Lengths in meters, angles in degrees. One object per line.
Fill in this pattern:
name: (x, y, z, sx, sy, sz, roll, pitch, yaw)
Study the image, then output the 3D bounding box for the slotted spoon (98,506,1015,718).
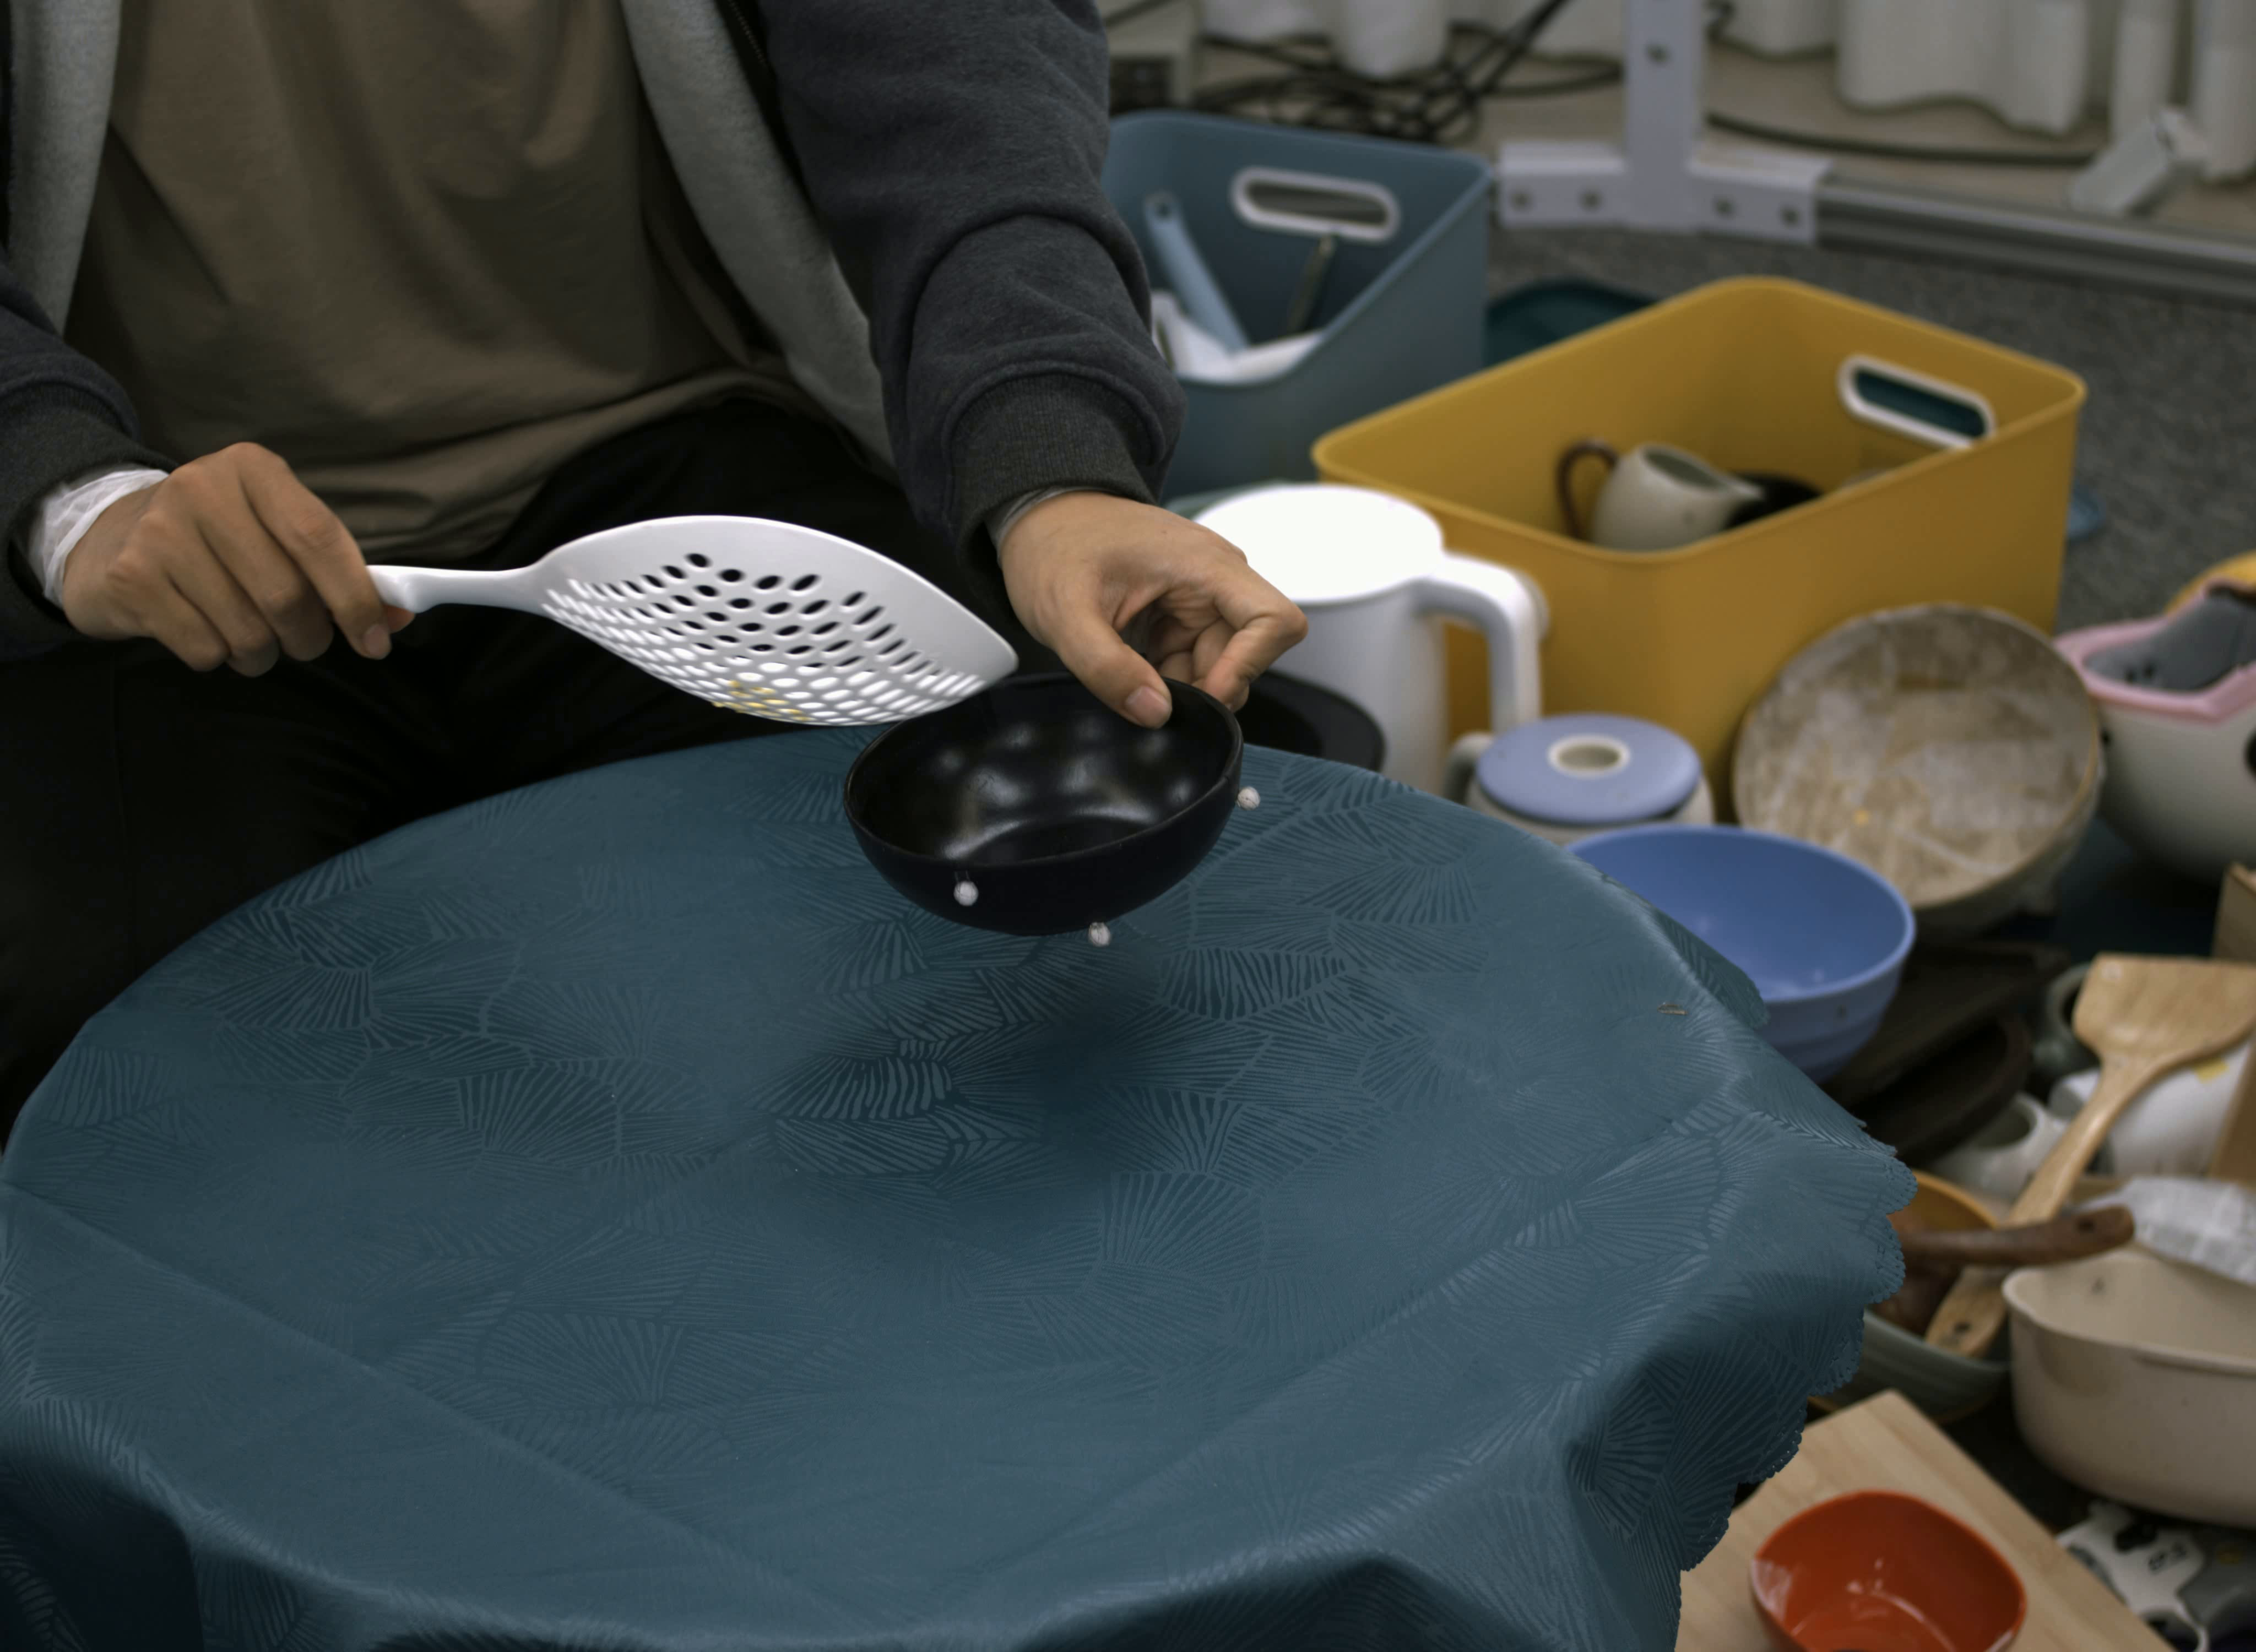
slotted spoon: (-0.198, -0.068, 1.859, 0.345, 0.051, 0.136, 6, -16, 33)
